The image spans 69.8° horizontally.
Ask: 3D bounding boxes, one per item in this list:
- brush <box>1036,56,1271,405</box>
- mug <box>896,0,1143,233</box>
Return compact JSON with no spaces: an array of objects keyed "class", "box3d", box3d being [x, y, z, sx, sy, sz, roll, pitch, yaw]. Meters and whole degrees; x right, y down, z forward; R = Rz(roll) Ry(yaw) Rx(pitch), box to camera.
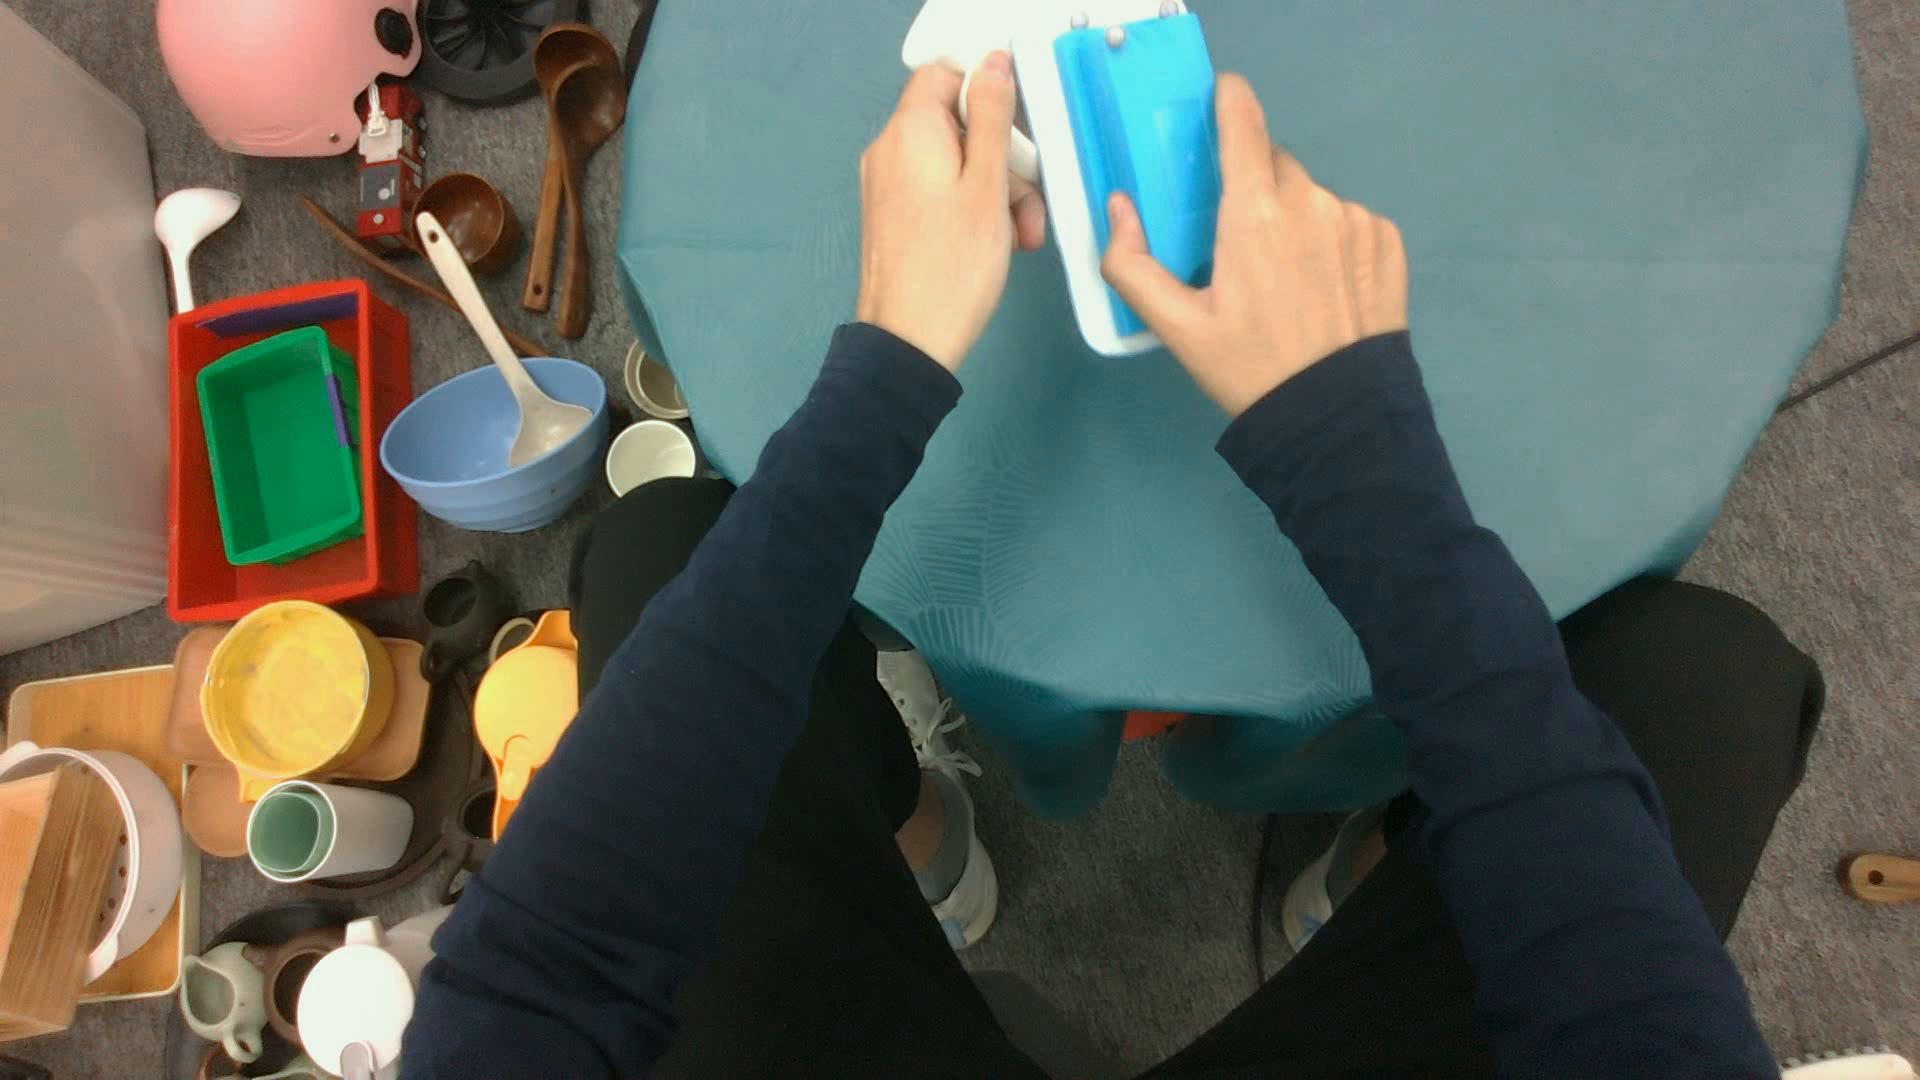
[{"class":"brush","box3d":[0.084,-0.131,0.571,0.084,0.056,0.144,-13,91,-12]},{"class":"mug","box3d":[0.034,-0.190,0.616,0.084,0.102,0.119,-32,32,38]}]
